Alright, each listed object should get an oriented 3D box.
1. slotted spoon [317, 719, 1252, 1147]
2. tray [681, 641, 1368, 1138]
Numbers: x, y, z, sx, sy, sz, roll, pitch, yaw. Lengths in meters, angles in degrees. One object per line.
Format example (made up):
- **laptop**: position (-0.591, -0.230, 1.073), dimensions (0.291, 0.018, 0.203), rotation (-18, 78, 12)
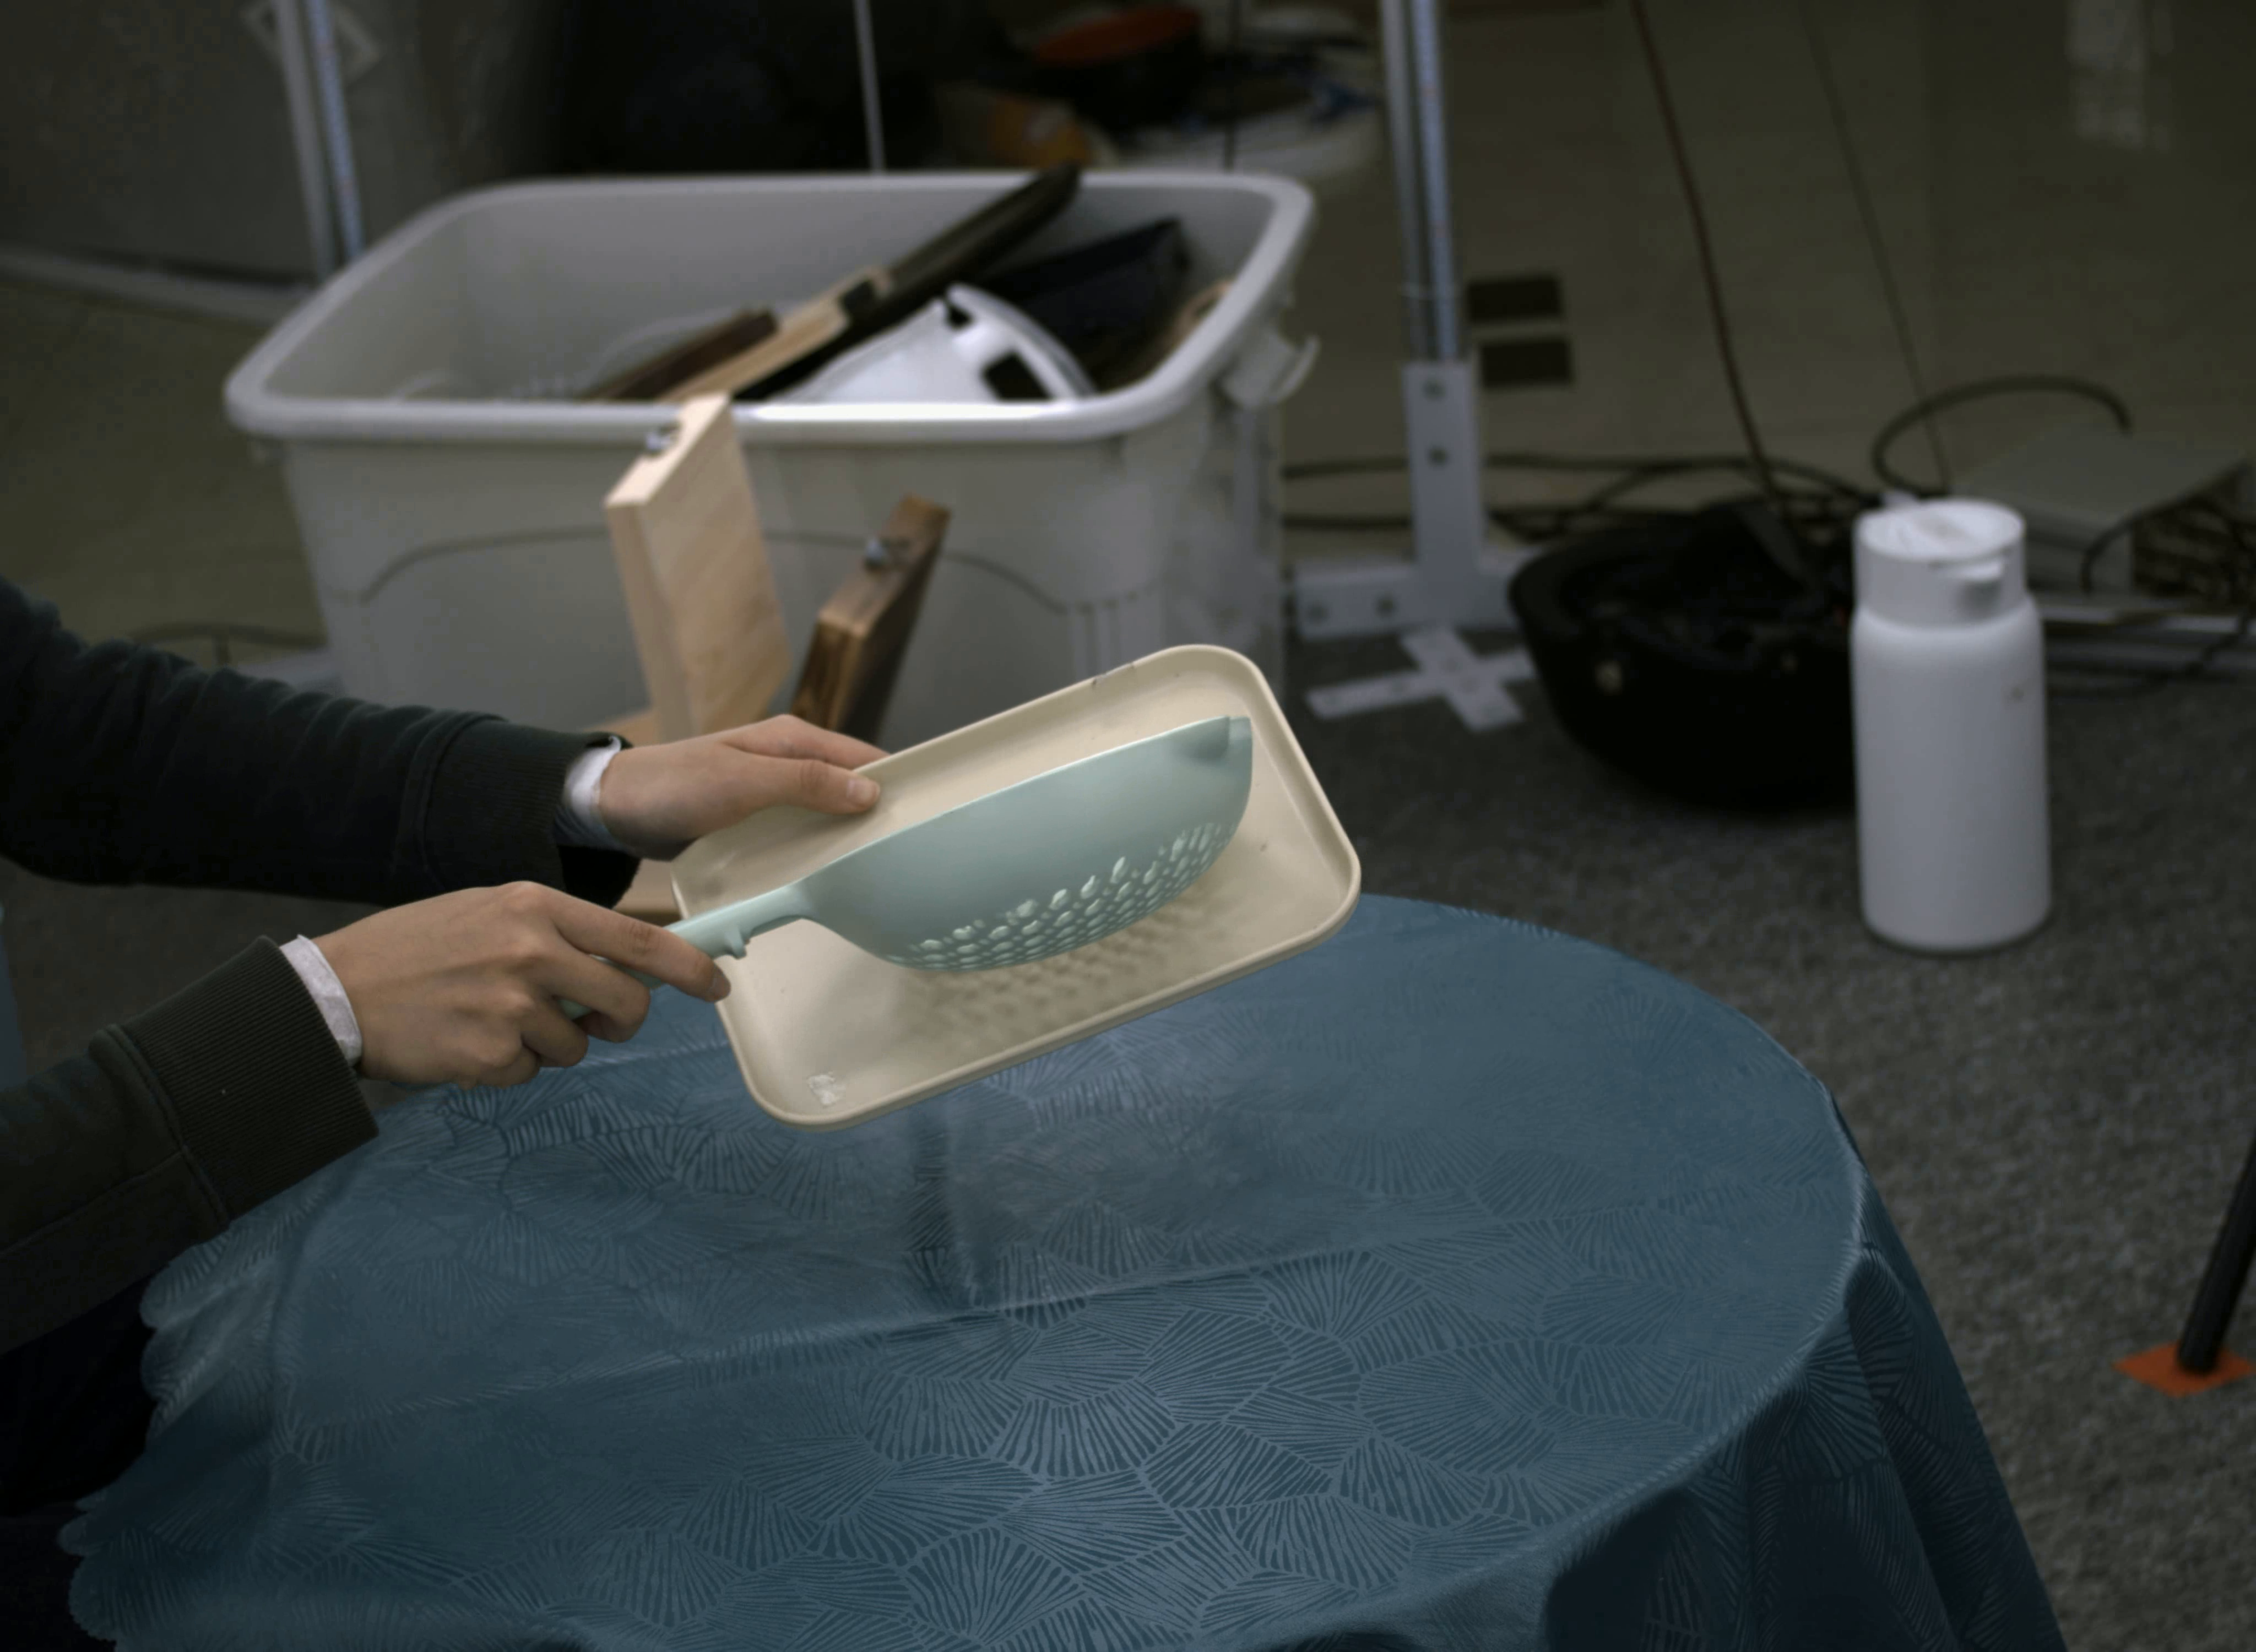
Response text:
- **slotted spoon**: position (-0.123, 0.038, 2.031), dimensions (0.358, 0.075, 0.170), rotation (-13, -4, -4)
- **tray**: position (-0.039, 0.024, 2.107), dimensions (0.239, 0.018, 0.168), rotation (-22, 46, -4)
